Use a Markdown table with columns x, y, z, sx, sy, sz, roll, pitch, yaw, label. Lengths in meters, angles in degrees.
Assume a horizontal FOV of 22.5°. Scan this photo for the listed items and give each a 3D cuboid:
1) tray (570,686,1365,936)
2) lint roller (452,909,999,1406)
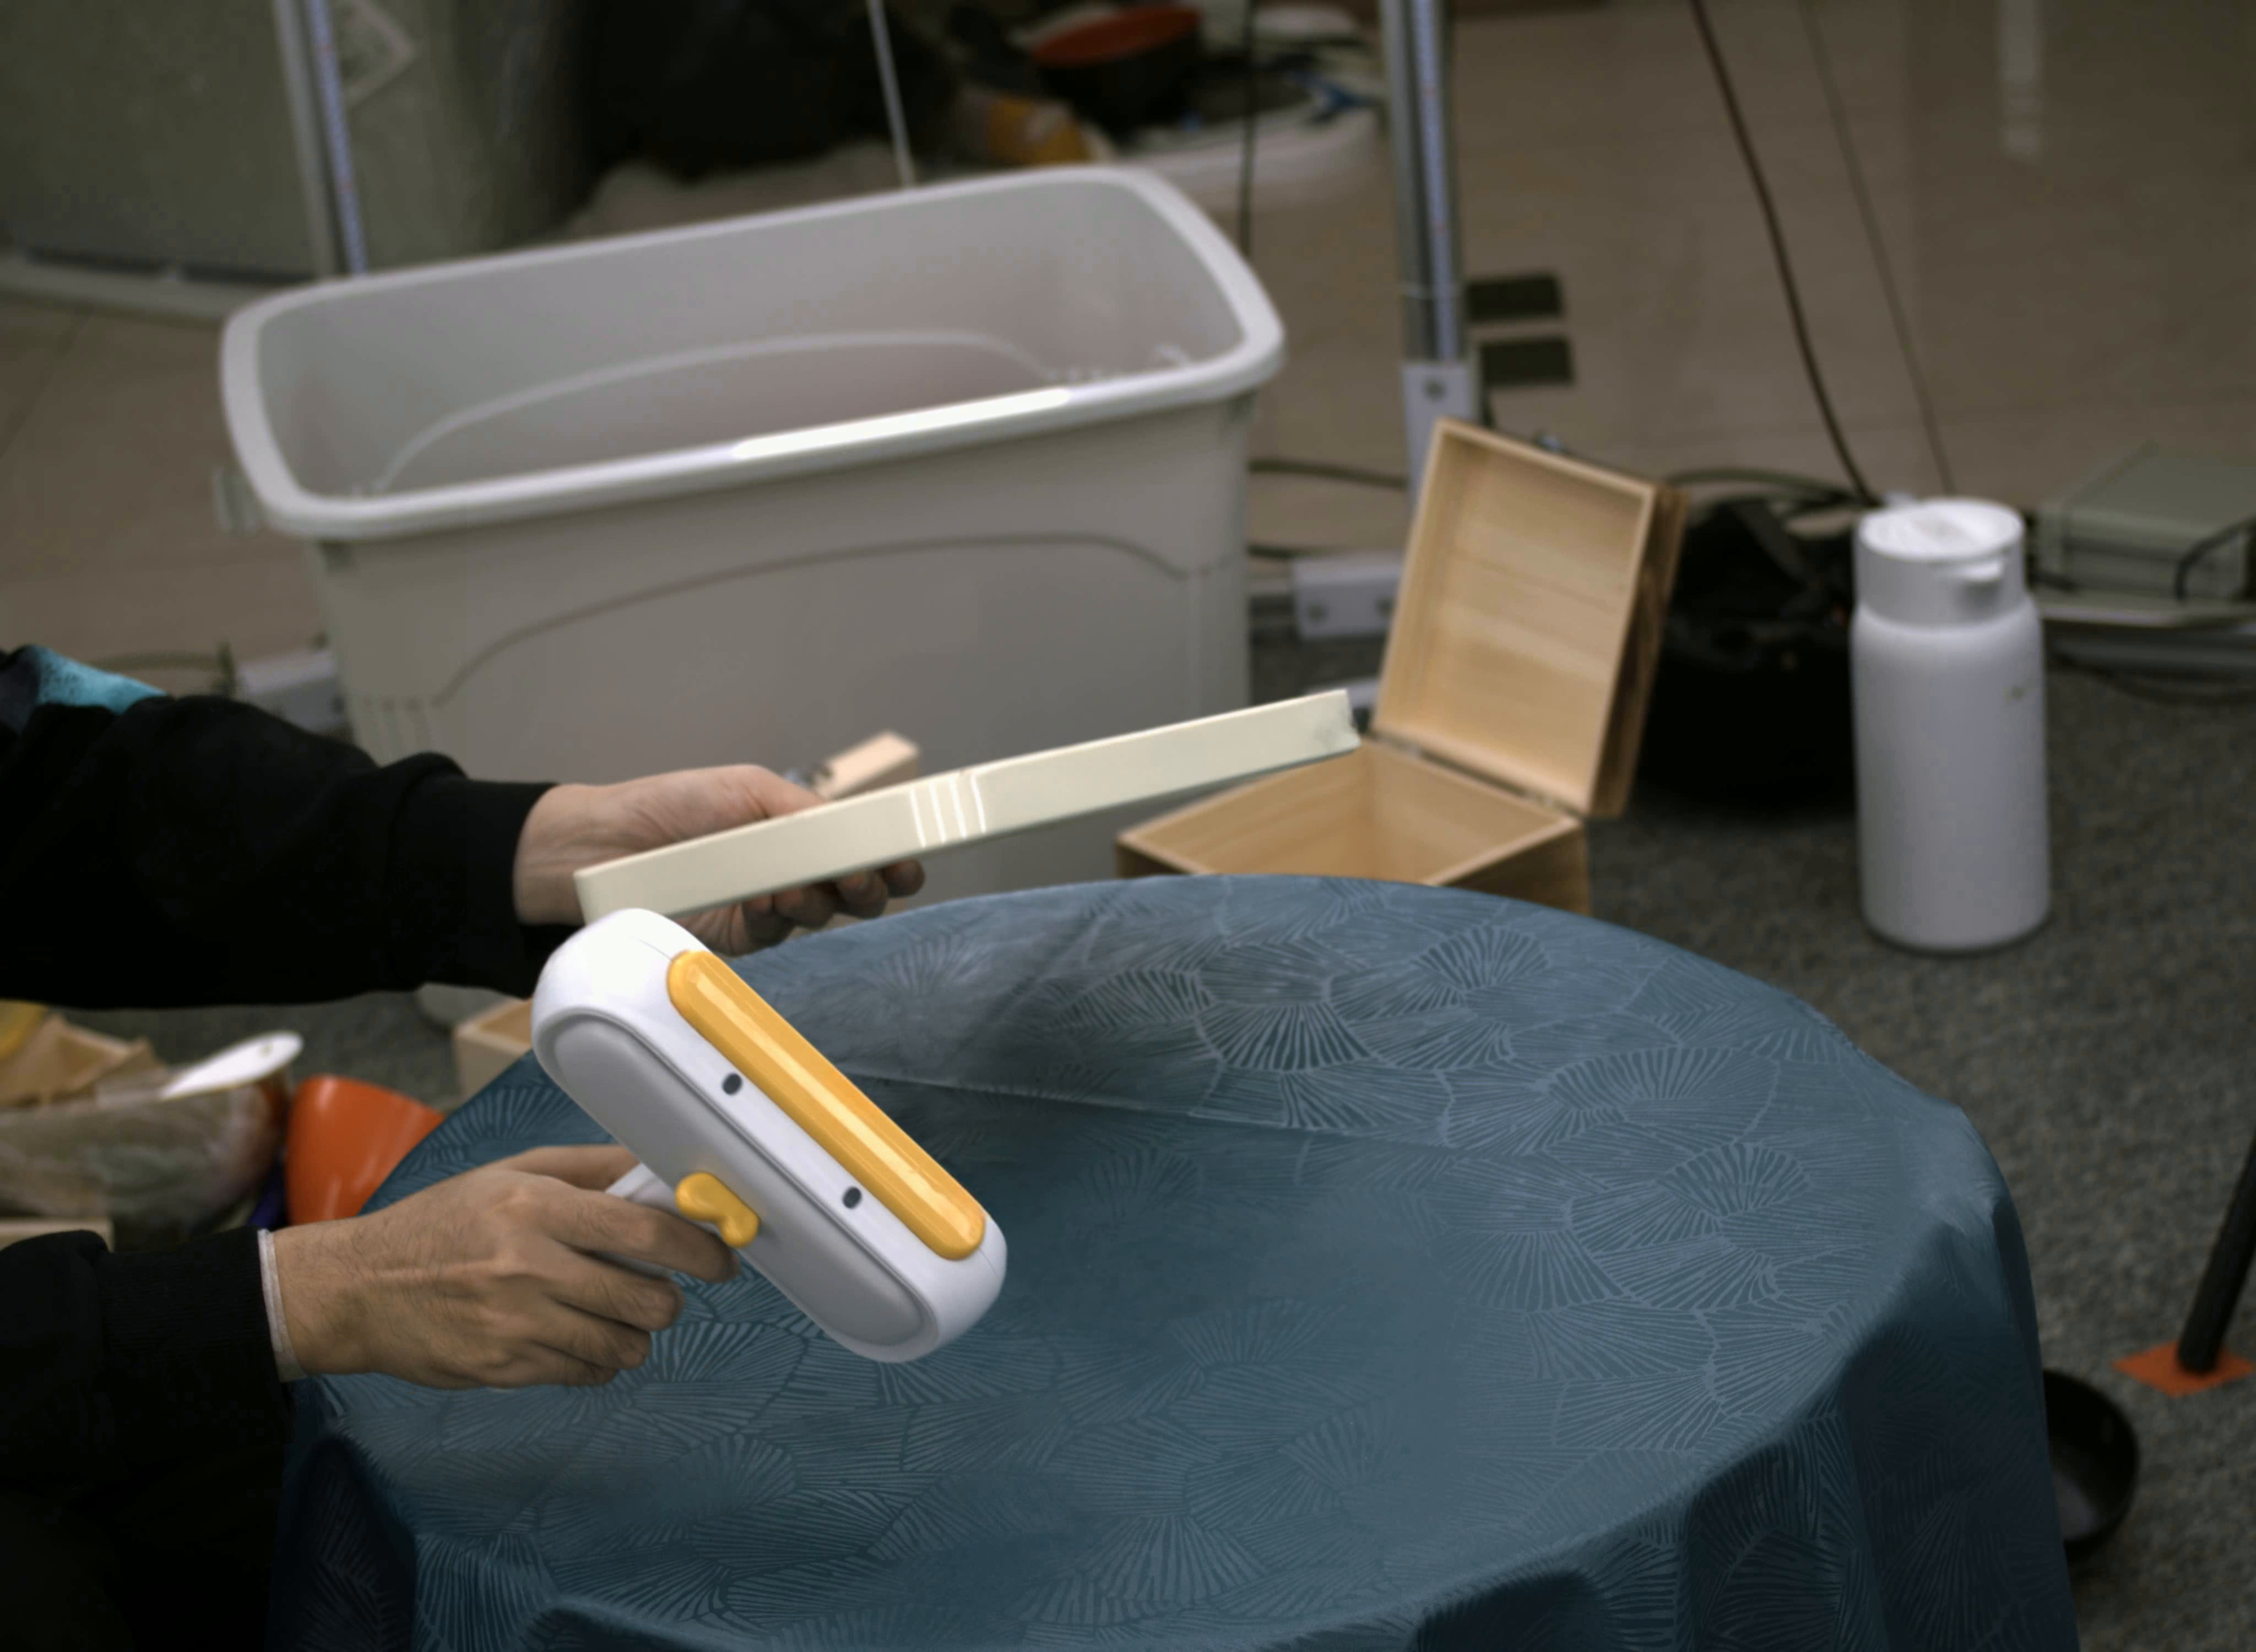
| x | y | z | sx | sy | sz | roll | pitch | yaw | label |
| --- | --- | --- | --- | --- | --- | --- | --- | --- | --- |
| -0.057 | -0.005 | 2.192 | 0.192 | 0.027 | 0.299 | -15 | 0 | 35 | tray |
| -0.164 | 0.136 | 1.954 | 0.194 | 0.194 | 0.073 | -37 | 24 | 40 | lint roller |
